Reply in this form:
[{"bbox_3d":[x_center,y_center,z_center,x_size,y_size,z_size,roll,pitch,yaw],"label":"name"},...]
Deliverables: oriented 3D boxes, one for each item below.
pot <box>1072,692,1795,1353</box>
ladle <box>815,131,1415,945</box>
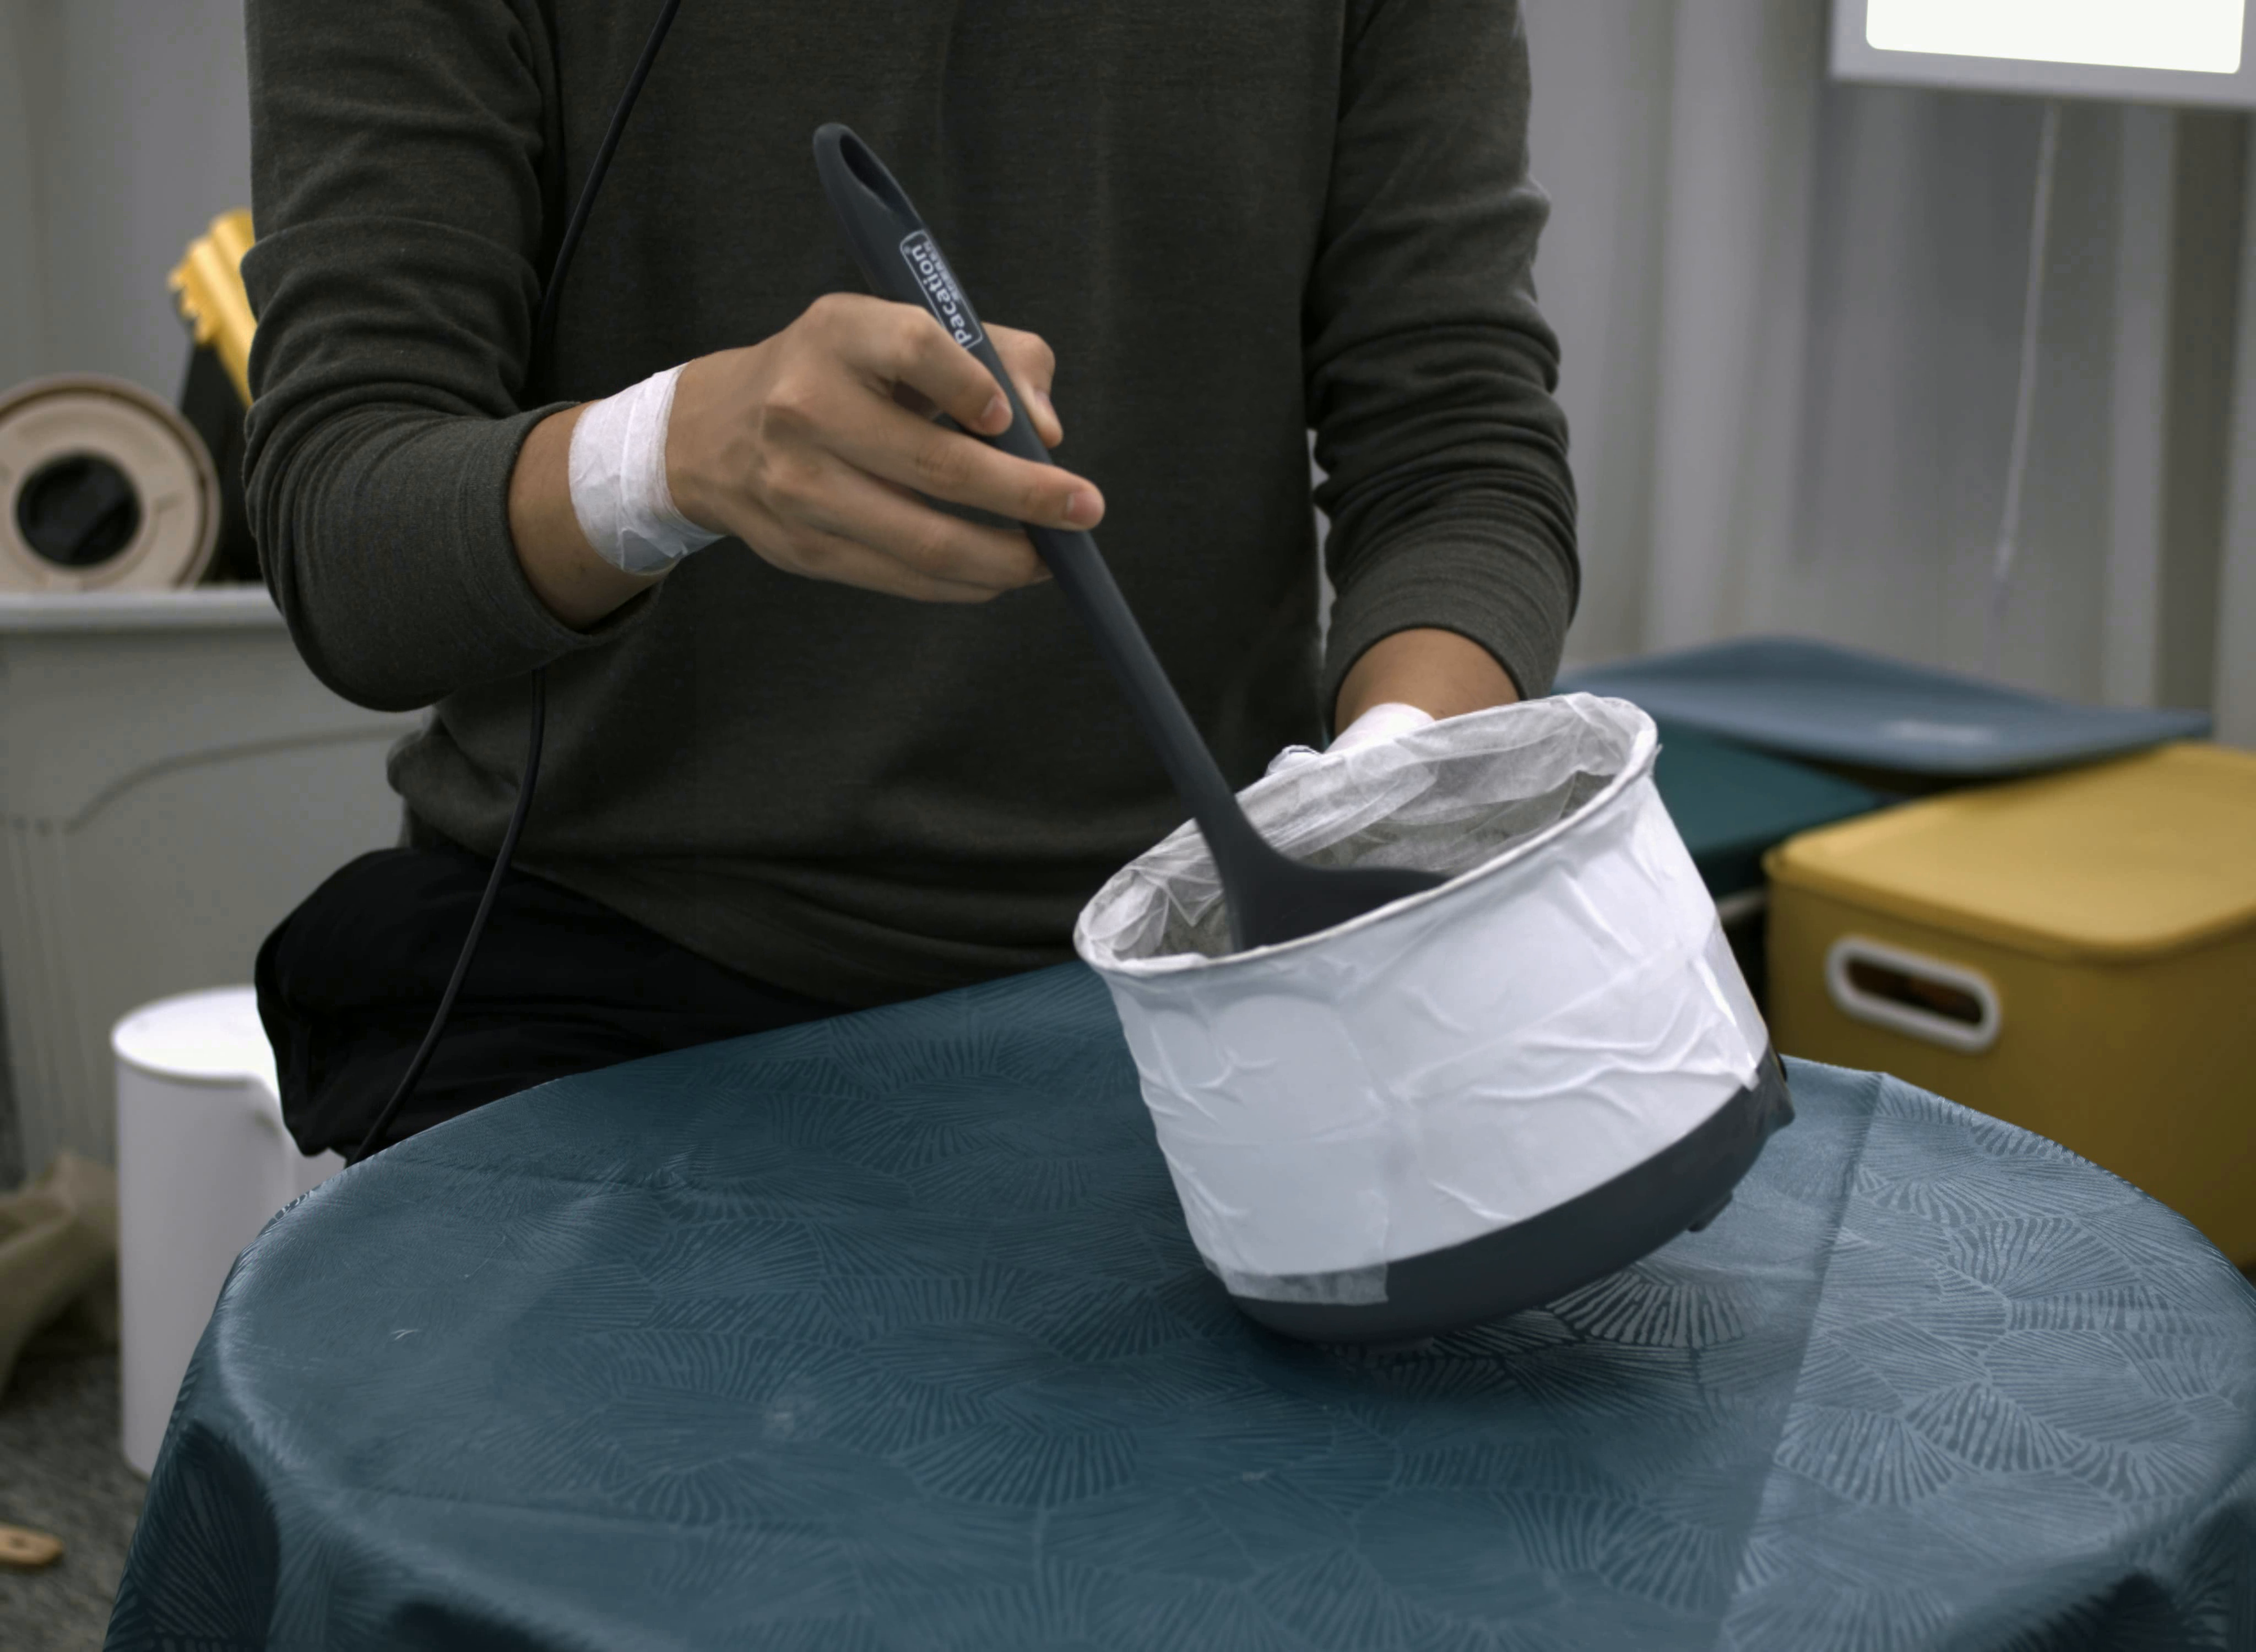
[{"bbox_3d":[0.083,0.051,1.531,0.178,0.138,0.232,-23,15,-6],"label":"pot"},{"bbox_3d":[0.006,-0.069,1.507,0.063,0.315,0.086,-23,9,43],"label":"ladle"}]
